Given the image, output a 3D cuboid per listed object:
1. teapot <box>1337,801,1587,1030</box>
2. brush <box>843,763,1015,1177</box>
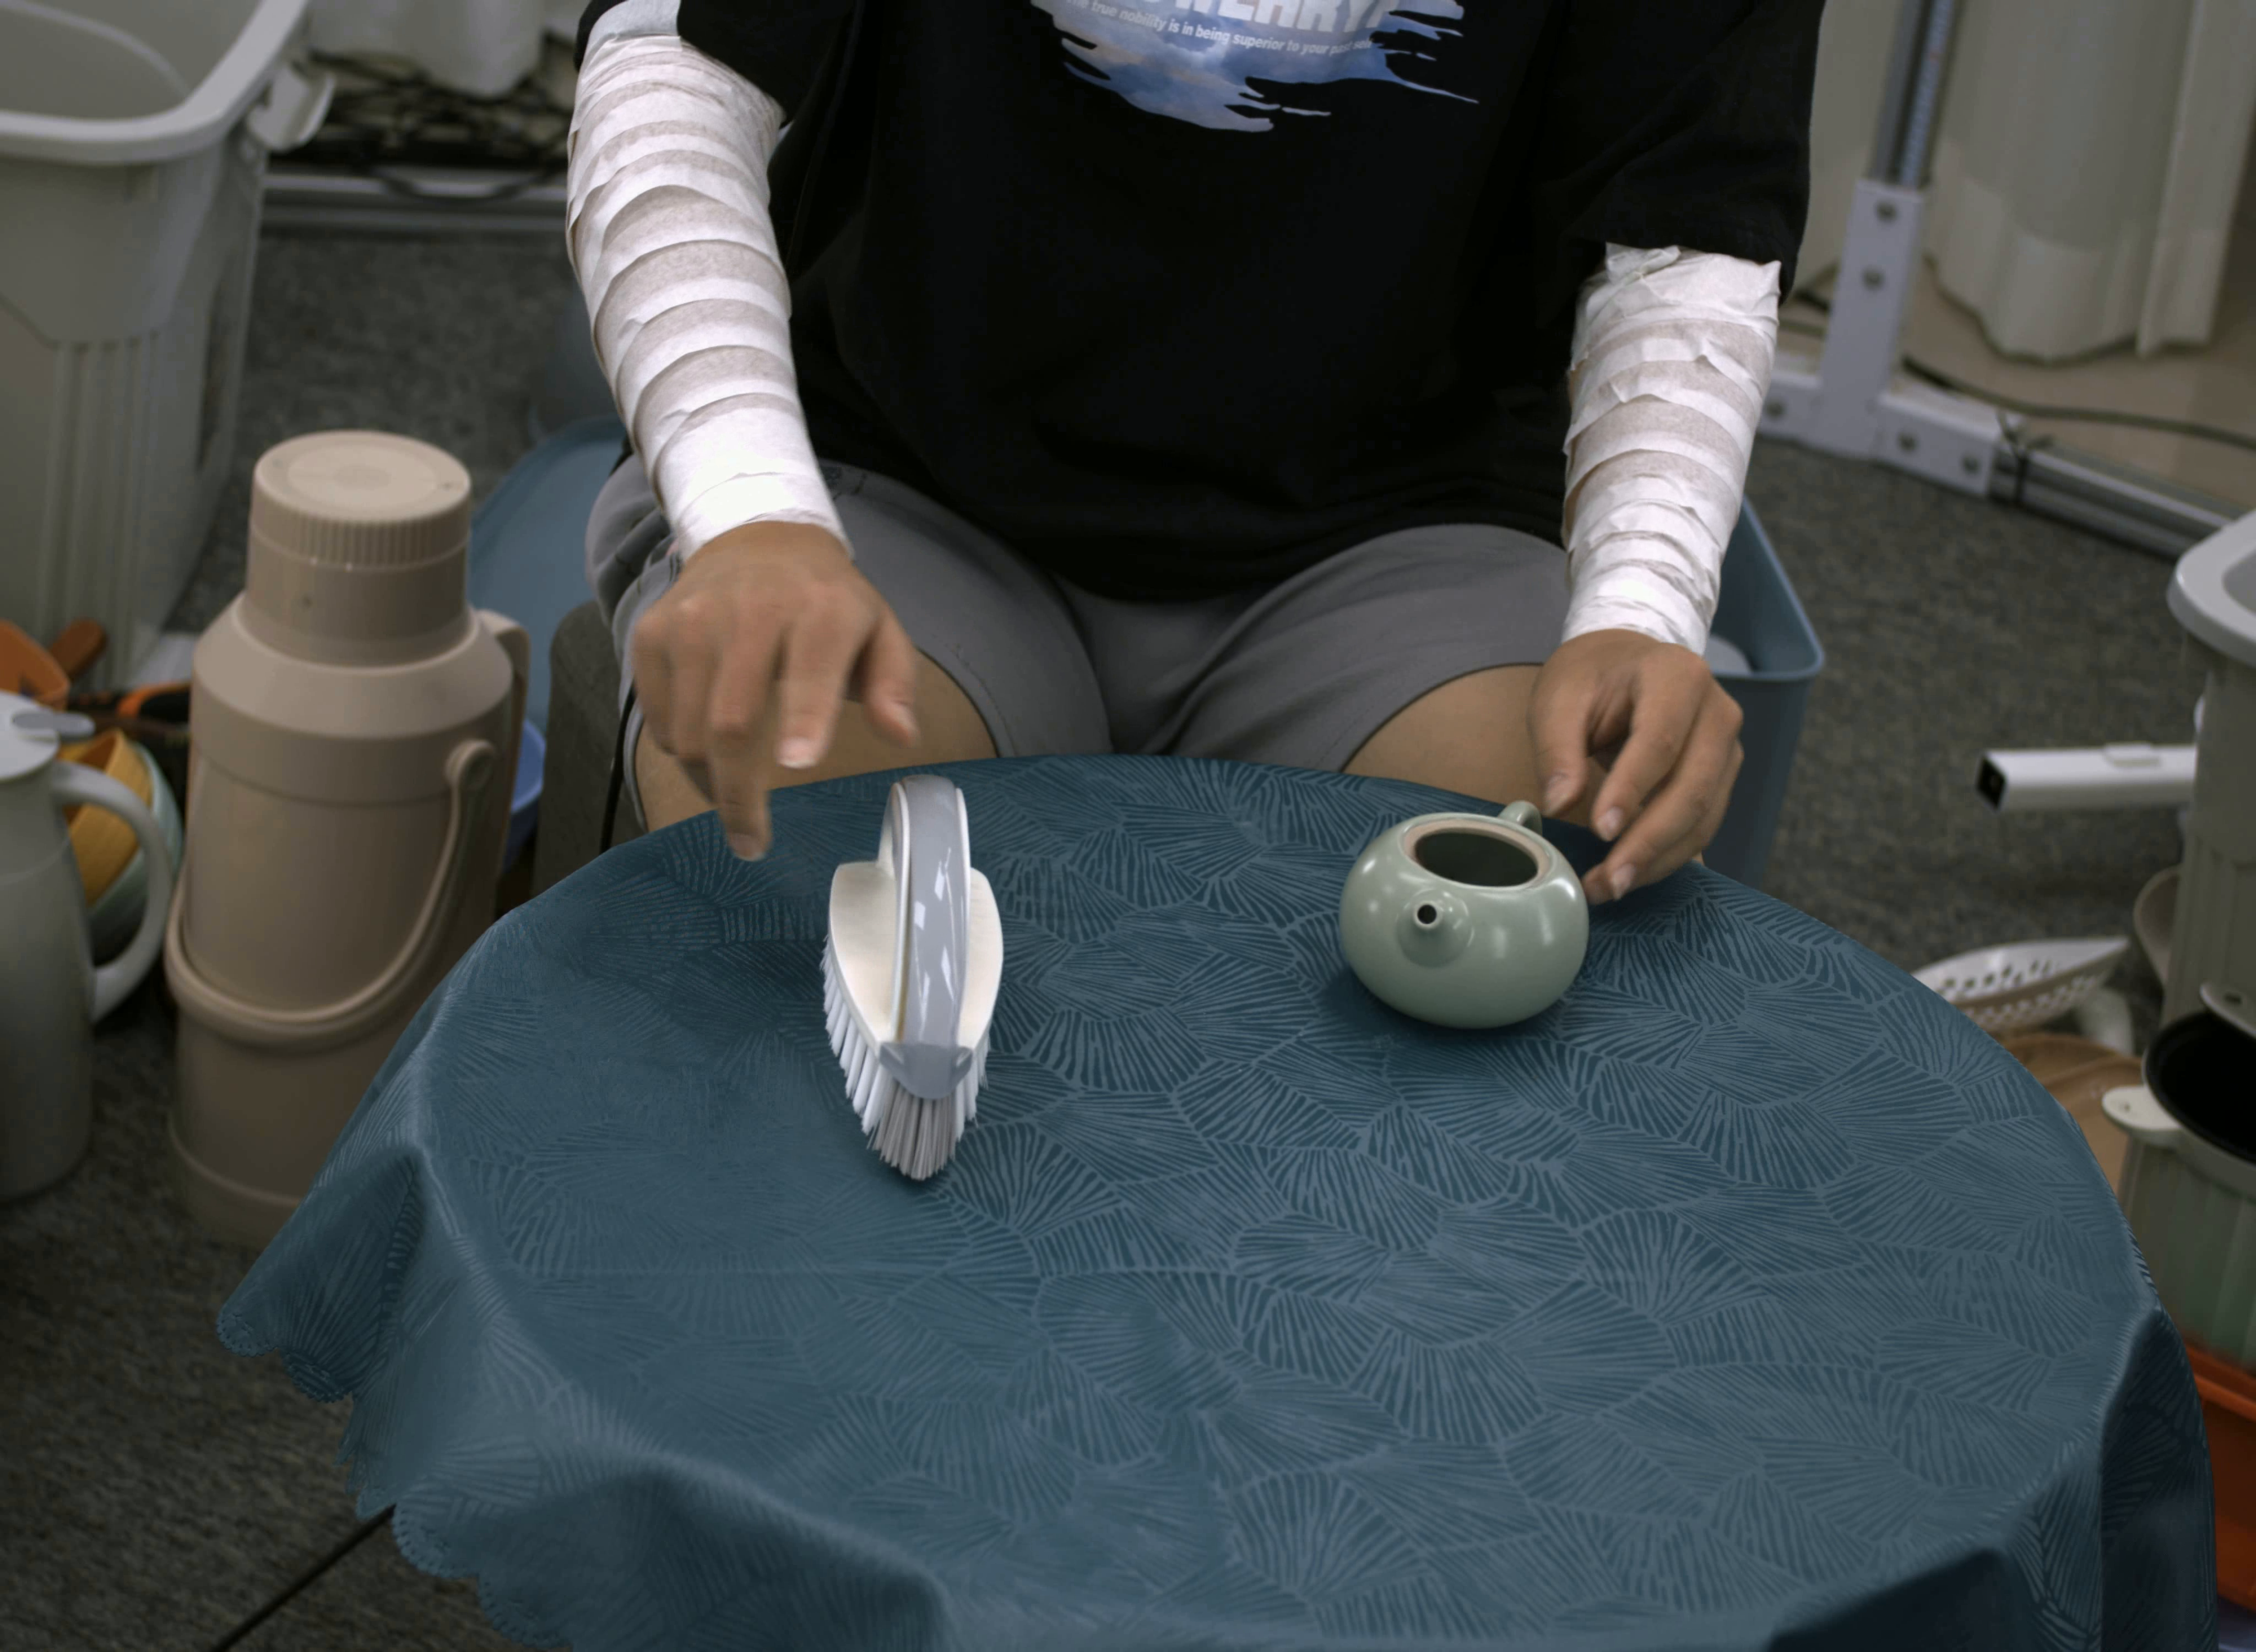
[{"bbox_3d":[0.126,0.032,1.948,0.092,0.061,0.128,16,28,22],"label":"teapot"},{"bbox_3d":[-0.068,0.042,1.849,0.061,0.094,0.177,1,28,-4],"label":"brush"}]
